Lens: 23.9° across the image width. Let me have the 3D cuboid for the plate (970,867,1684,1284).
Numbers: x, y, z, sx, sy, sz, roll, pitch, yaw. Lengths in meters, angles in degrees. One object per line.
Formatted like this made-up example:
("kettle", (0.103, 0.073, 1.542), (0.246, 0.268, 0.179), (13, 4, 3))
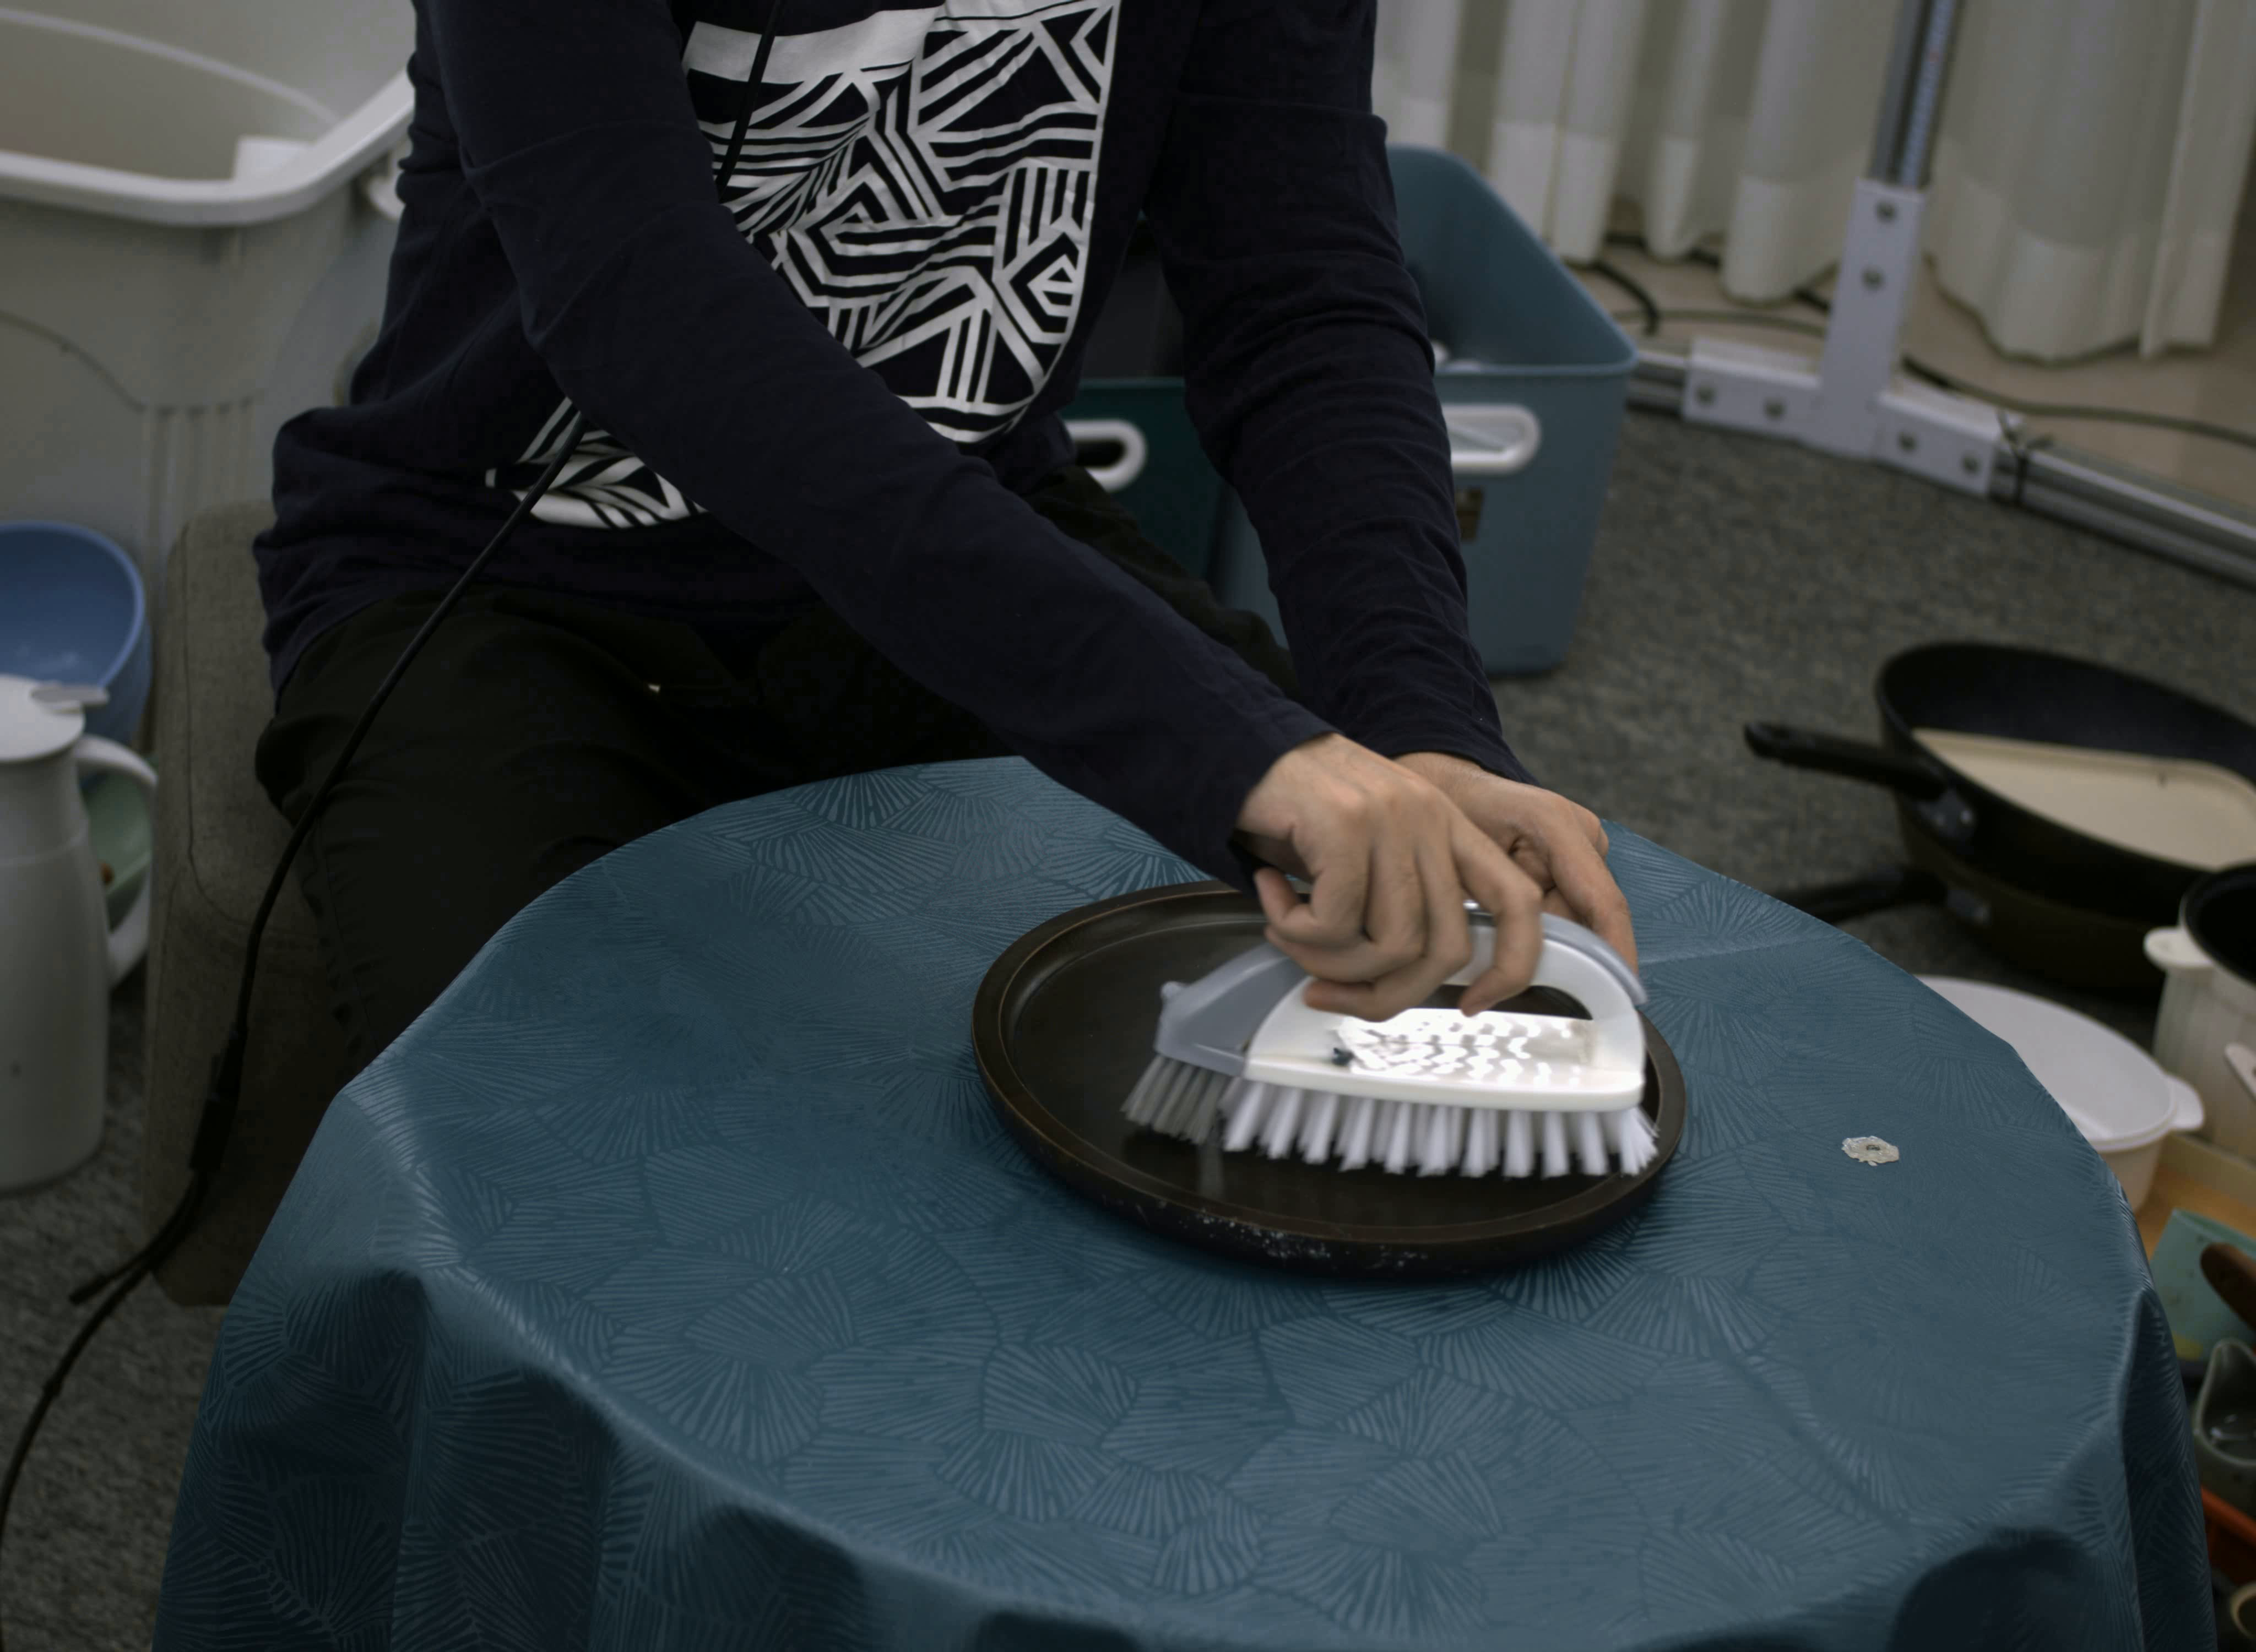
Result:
("plate", (0.069, 0.088, 1.867), (0.254, 0.029, 0.256), (6, 28, -3))

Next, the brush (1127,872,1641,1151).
("brush", (0.088, 0.060, 1.800), (0.175, 0.094, 0.062), (3, 24, 2))
